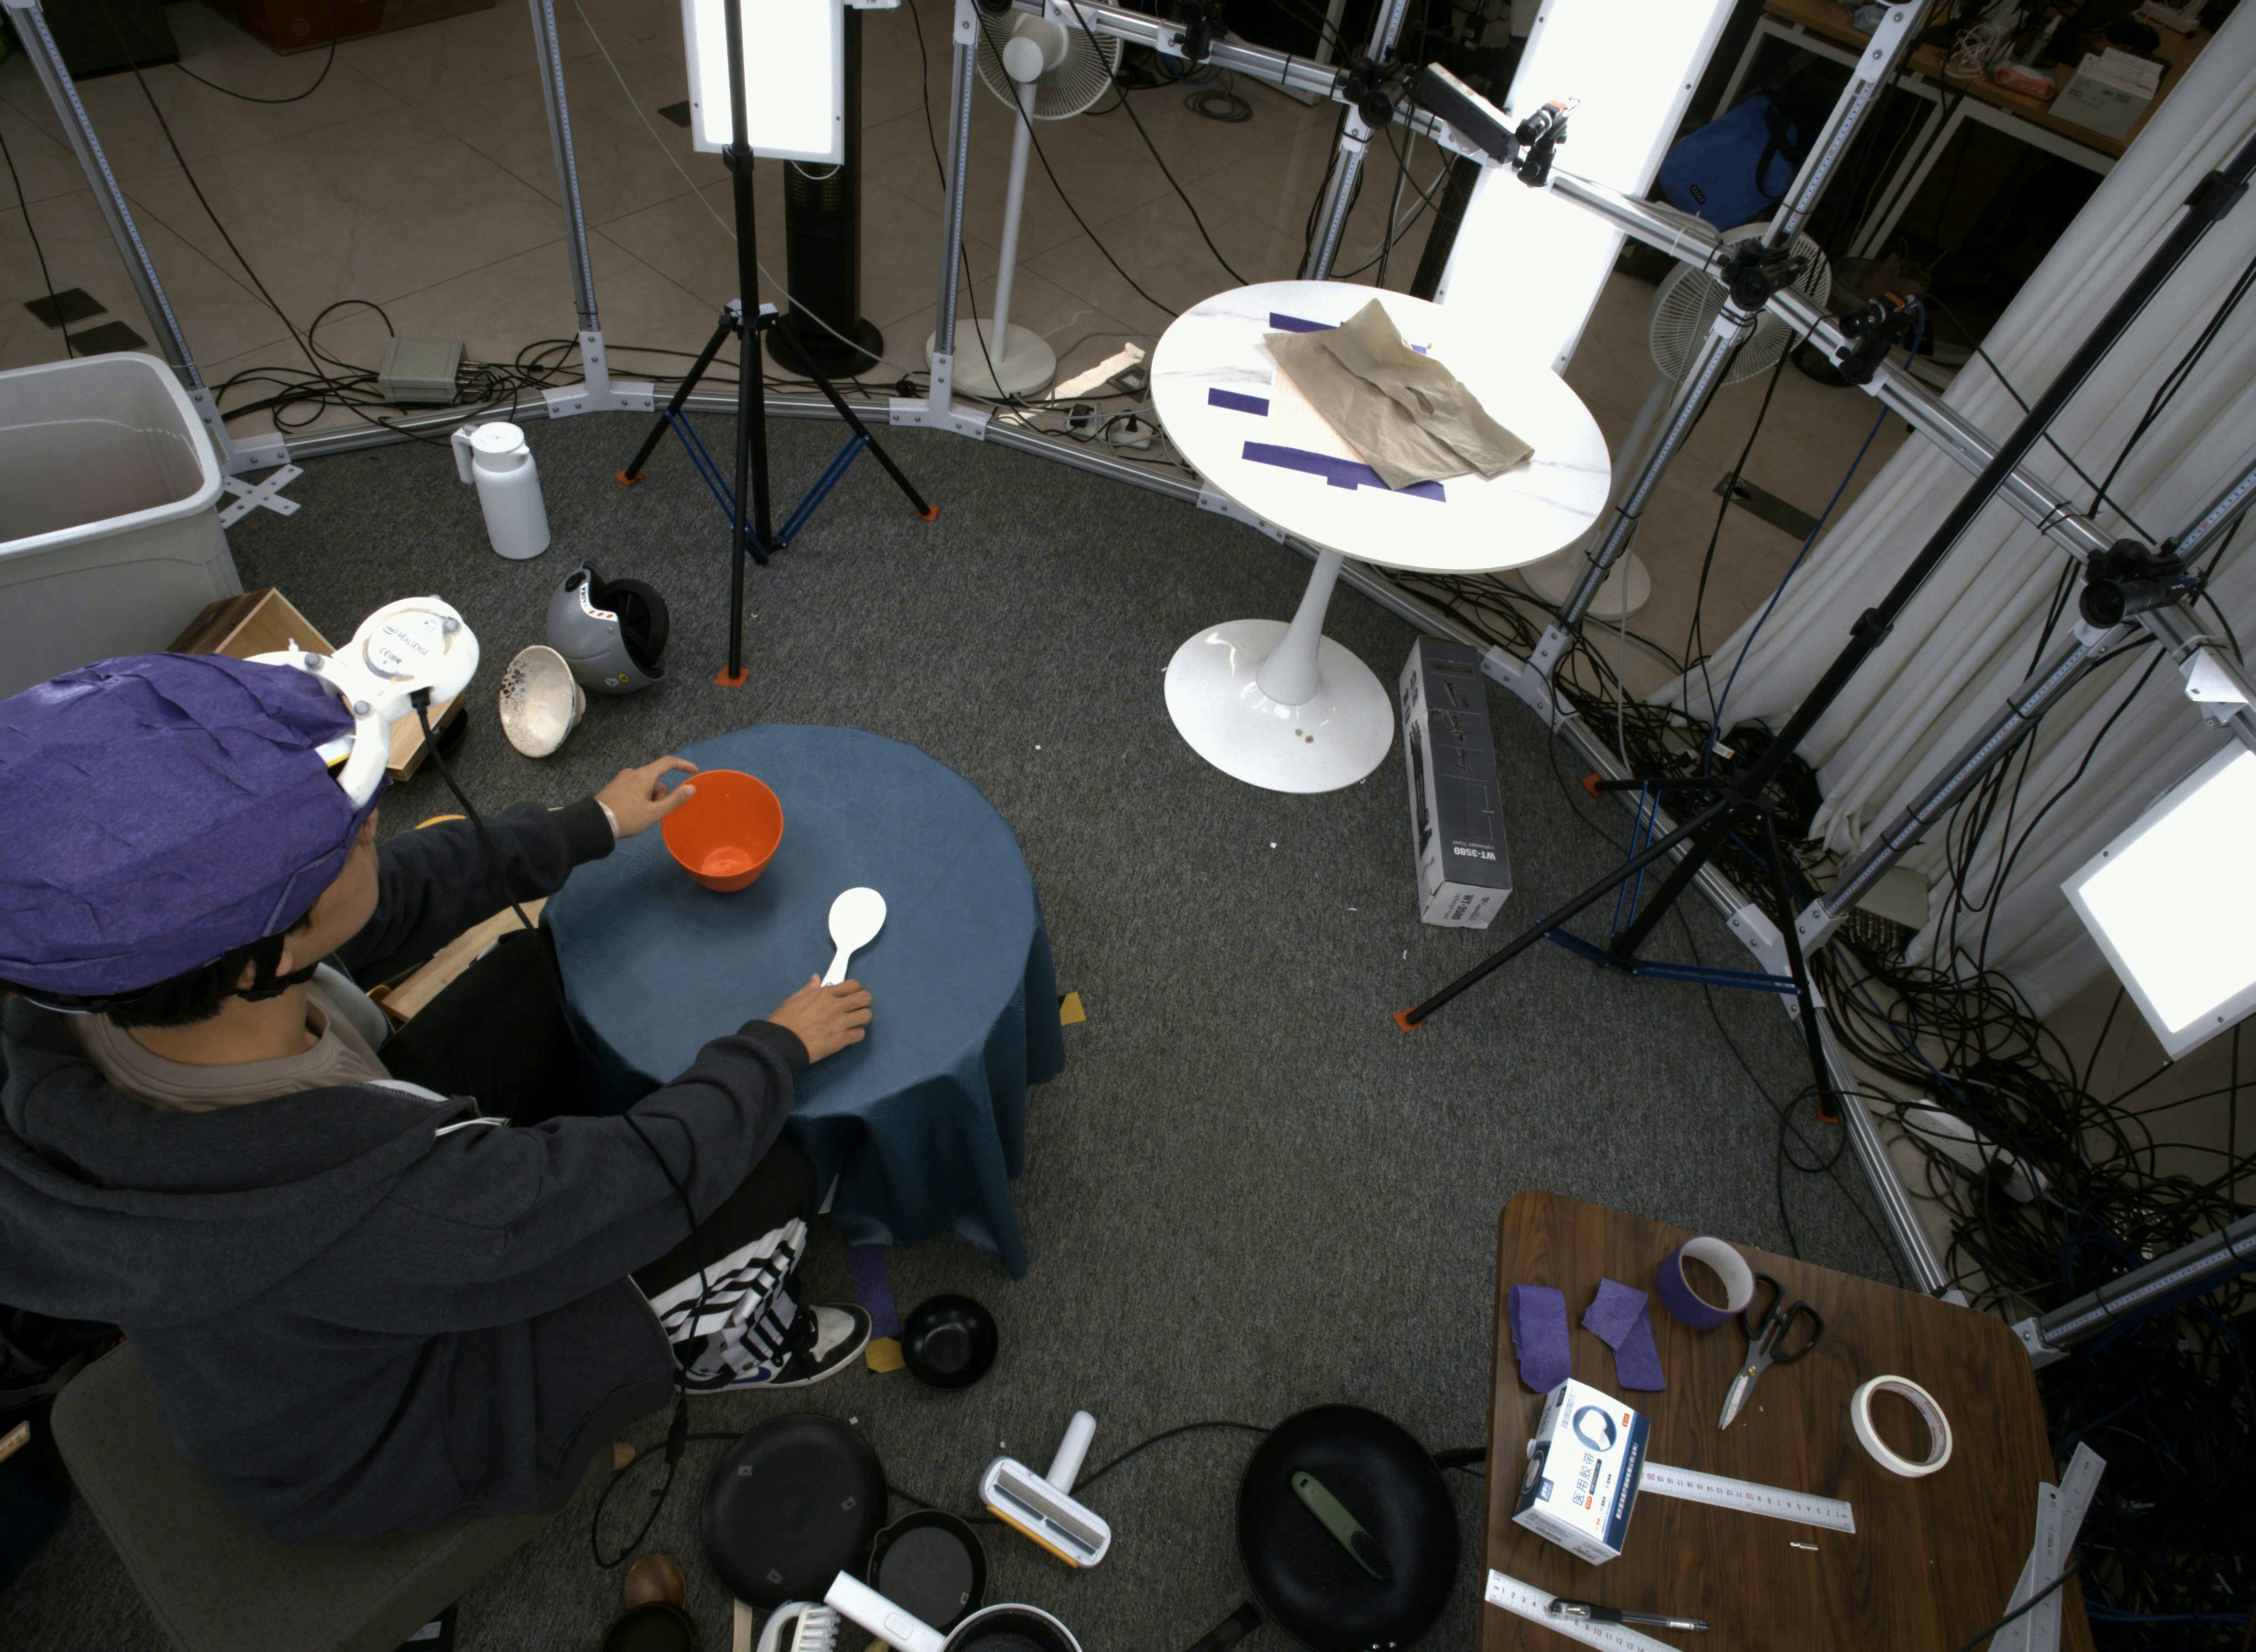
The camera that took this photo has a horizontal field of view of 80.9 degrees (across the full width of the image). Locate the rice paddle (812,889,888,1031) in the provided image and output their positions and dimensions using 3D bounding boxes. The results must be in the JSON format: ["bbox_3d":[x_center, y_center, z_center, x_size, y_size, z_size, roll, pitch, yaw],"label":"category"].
[{"bbox_3d":[-0.349,0.156,1.612,0.068,0.030,0.202,14,52,-4],"label":"rice paddle"}]

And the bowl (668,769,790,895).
[{"bbox_3d":[-0.501,0.018,1.631,0.148,0.106,0.145,8,52,-9],"label":"bowl"}]
